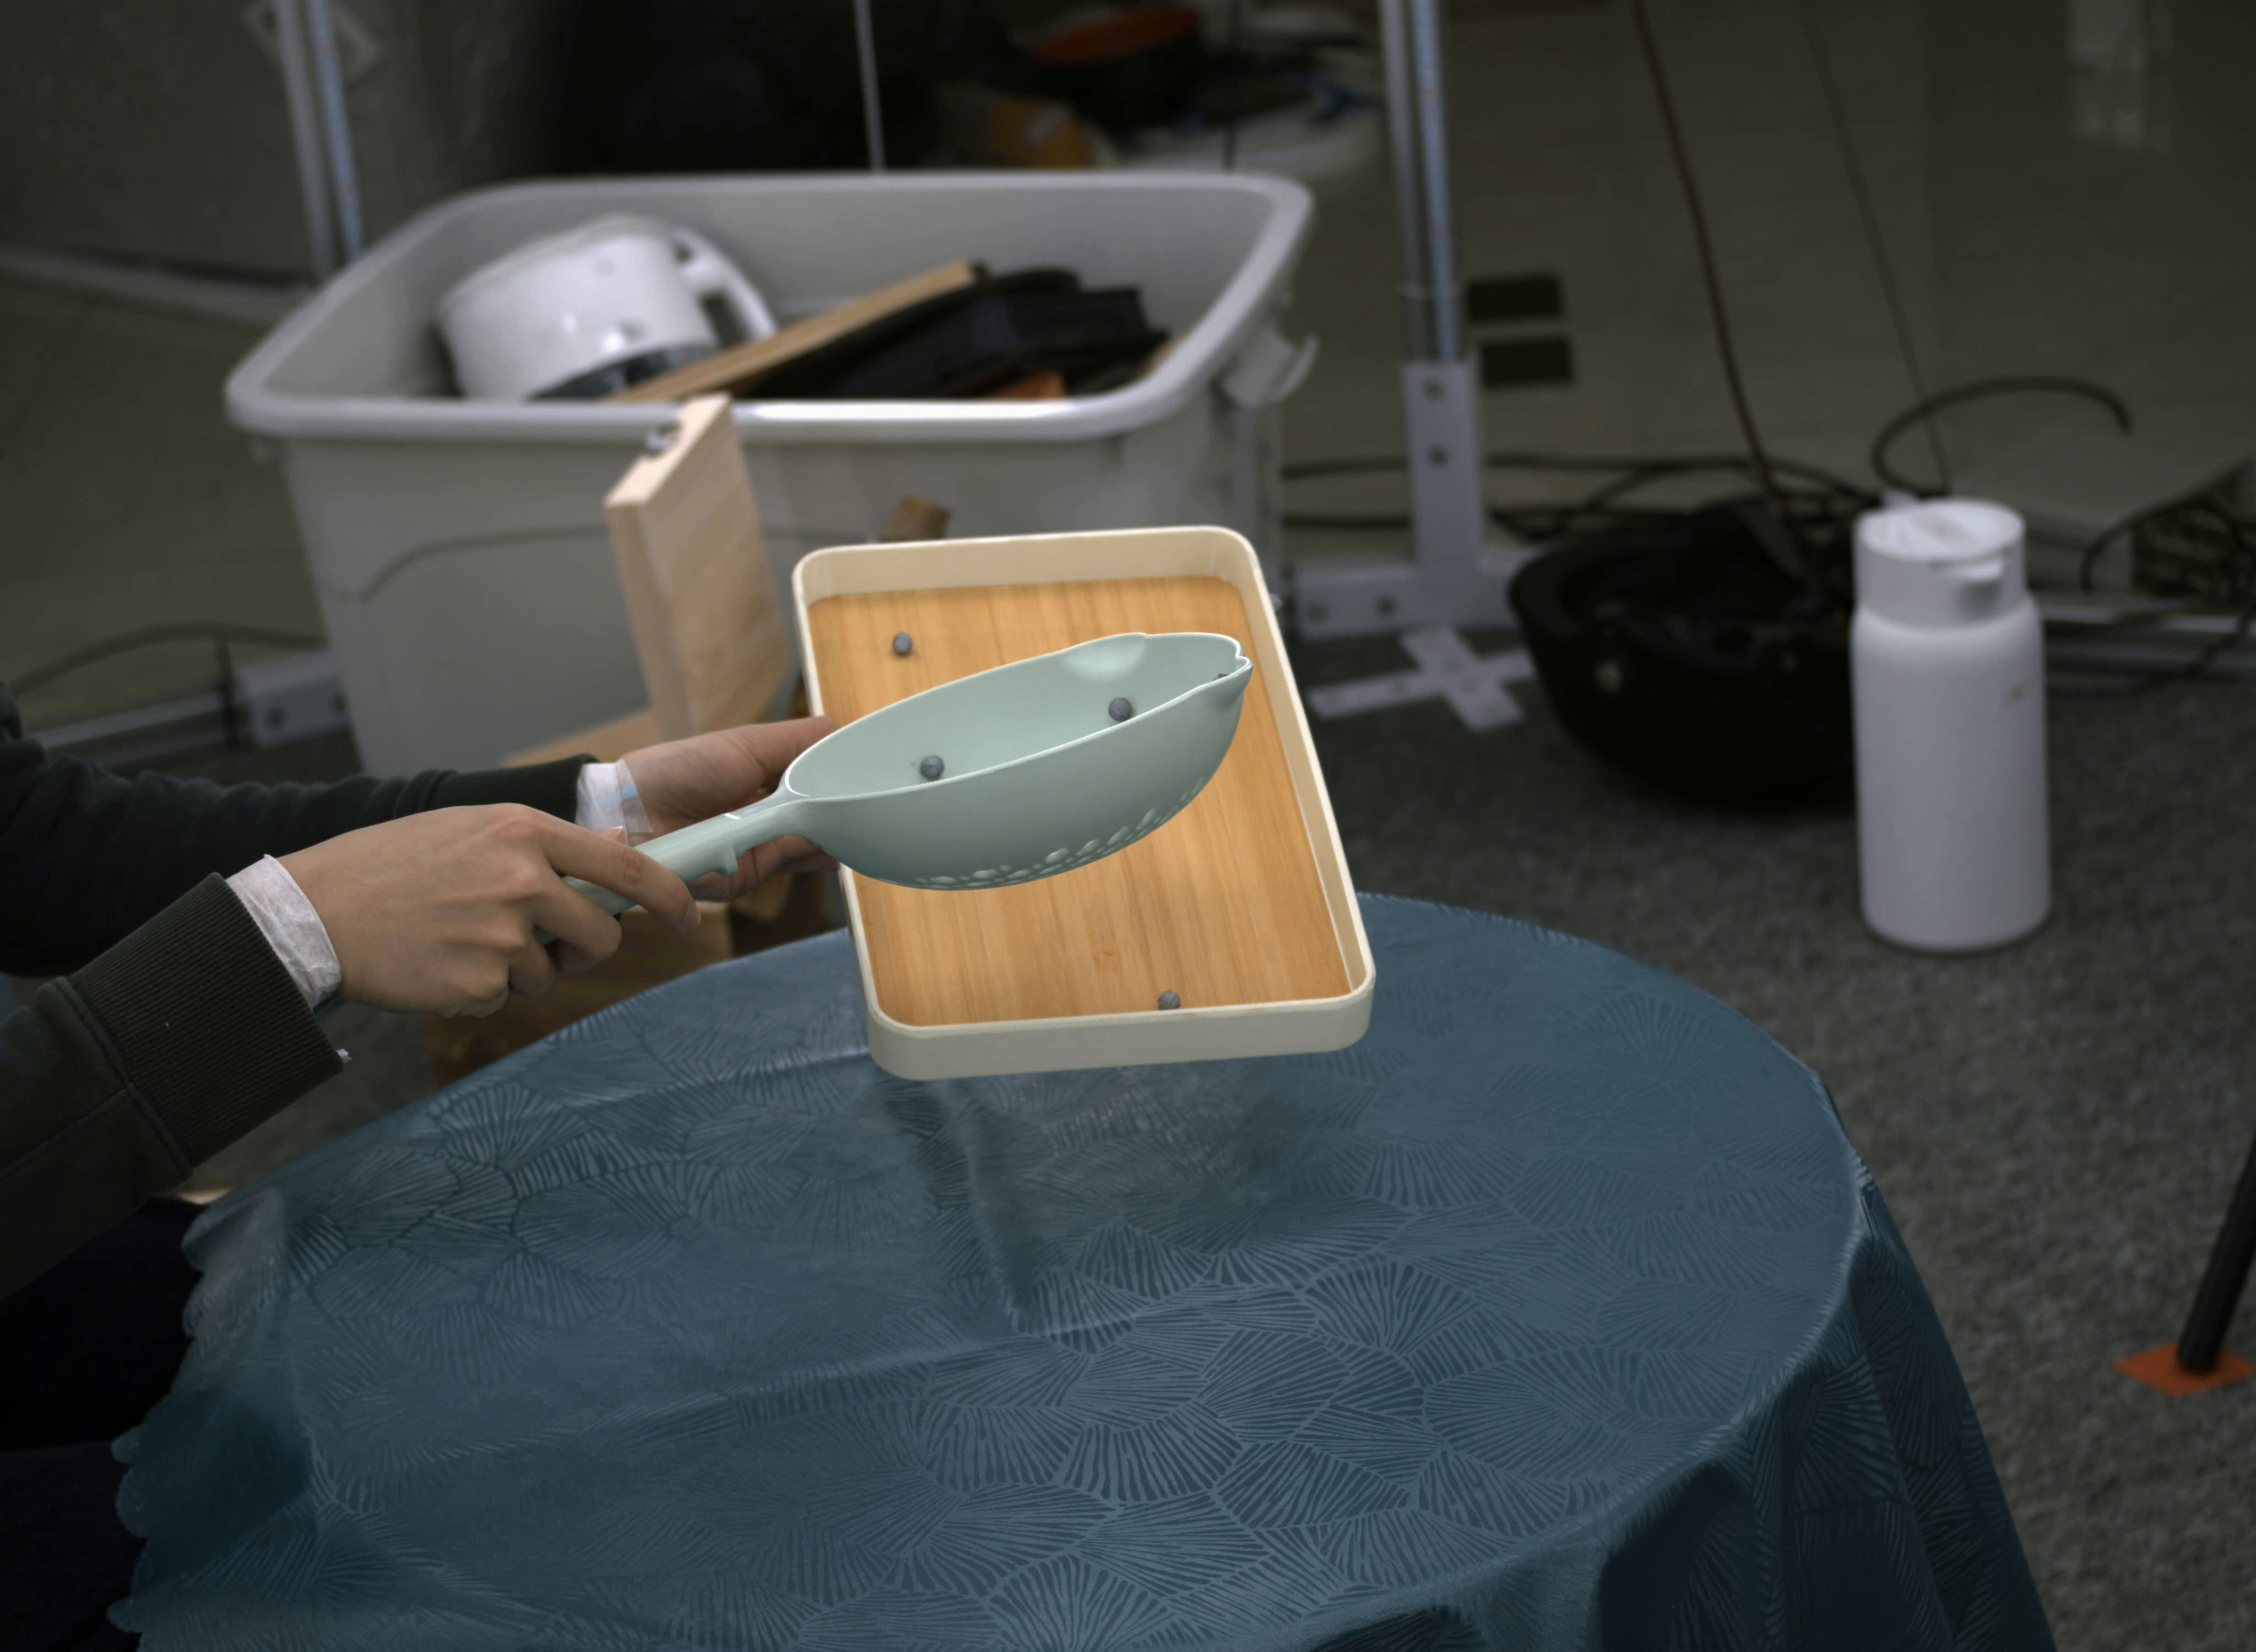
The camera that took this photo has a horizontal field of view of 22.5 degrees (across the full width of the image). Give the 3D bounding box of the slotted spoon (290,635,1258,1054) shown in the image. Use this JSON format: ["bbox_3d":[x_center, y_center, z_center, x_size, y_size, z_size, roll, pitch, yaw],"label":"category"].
[{"bbox_3d":[-0.123,0.005,1.975,0.357,0.076,0.168,-12,10,-18],"label":"slotted spoon"}]

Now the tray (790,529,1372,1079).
[{"bbox_3d":[-0.023,-0.014,2.193,0.191,0.028,0.295,-3,40,-8],"label":"tray"}]
